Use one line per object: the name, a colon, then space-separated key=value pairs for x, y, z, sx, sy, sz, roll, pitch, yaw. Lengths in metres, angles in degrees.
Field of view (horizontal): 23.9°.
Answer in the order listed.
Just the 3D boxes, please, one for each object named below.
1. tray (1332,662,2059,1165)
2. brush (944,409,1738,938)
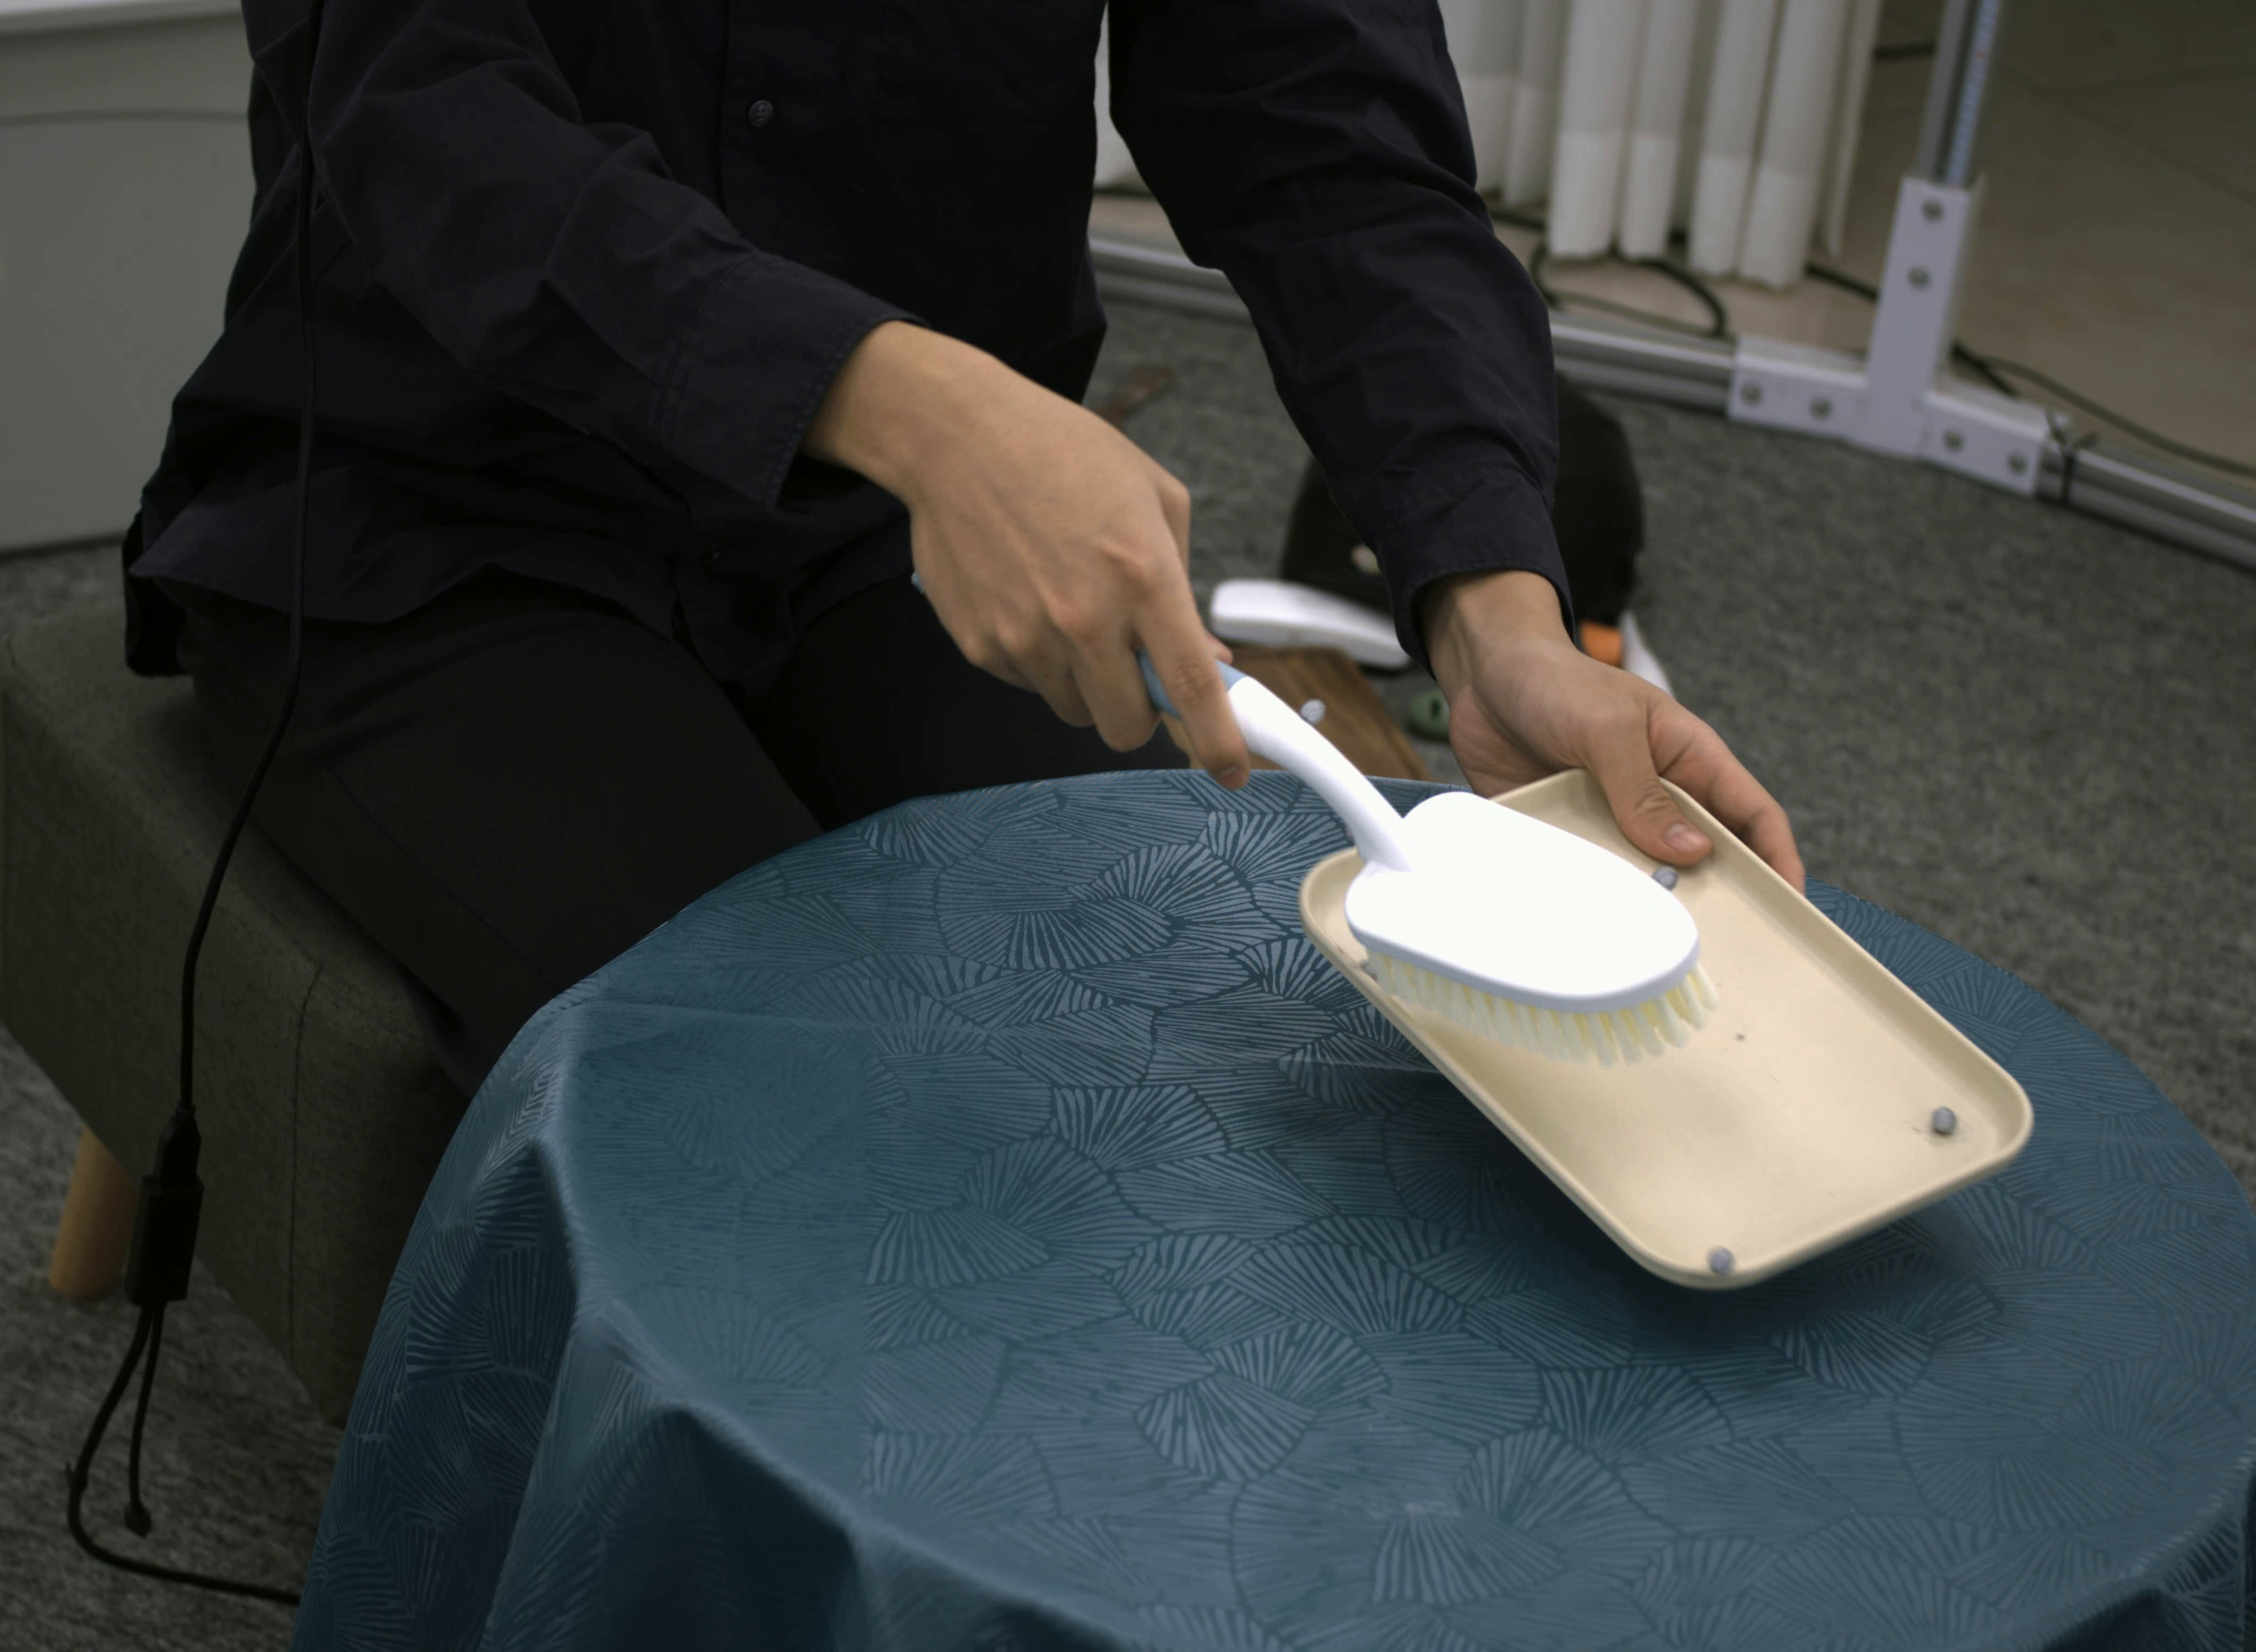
tray: x=0.195 y=0.029 z=1.858 sx=0.170 sy=0.017 sz=0.242 roll=-18 pitch=44 yaw=-29
brush: x=0.072 y=-0.050 z=1.850 sx=0.327 sy=0.084 sz=0.083 roll=30 pitch=26 yaw=24
